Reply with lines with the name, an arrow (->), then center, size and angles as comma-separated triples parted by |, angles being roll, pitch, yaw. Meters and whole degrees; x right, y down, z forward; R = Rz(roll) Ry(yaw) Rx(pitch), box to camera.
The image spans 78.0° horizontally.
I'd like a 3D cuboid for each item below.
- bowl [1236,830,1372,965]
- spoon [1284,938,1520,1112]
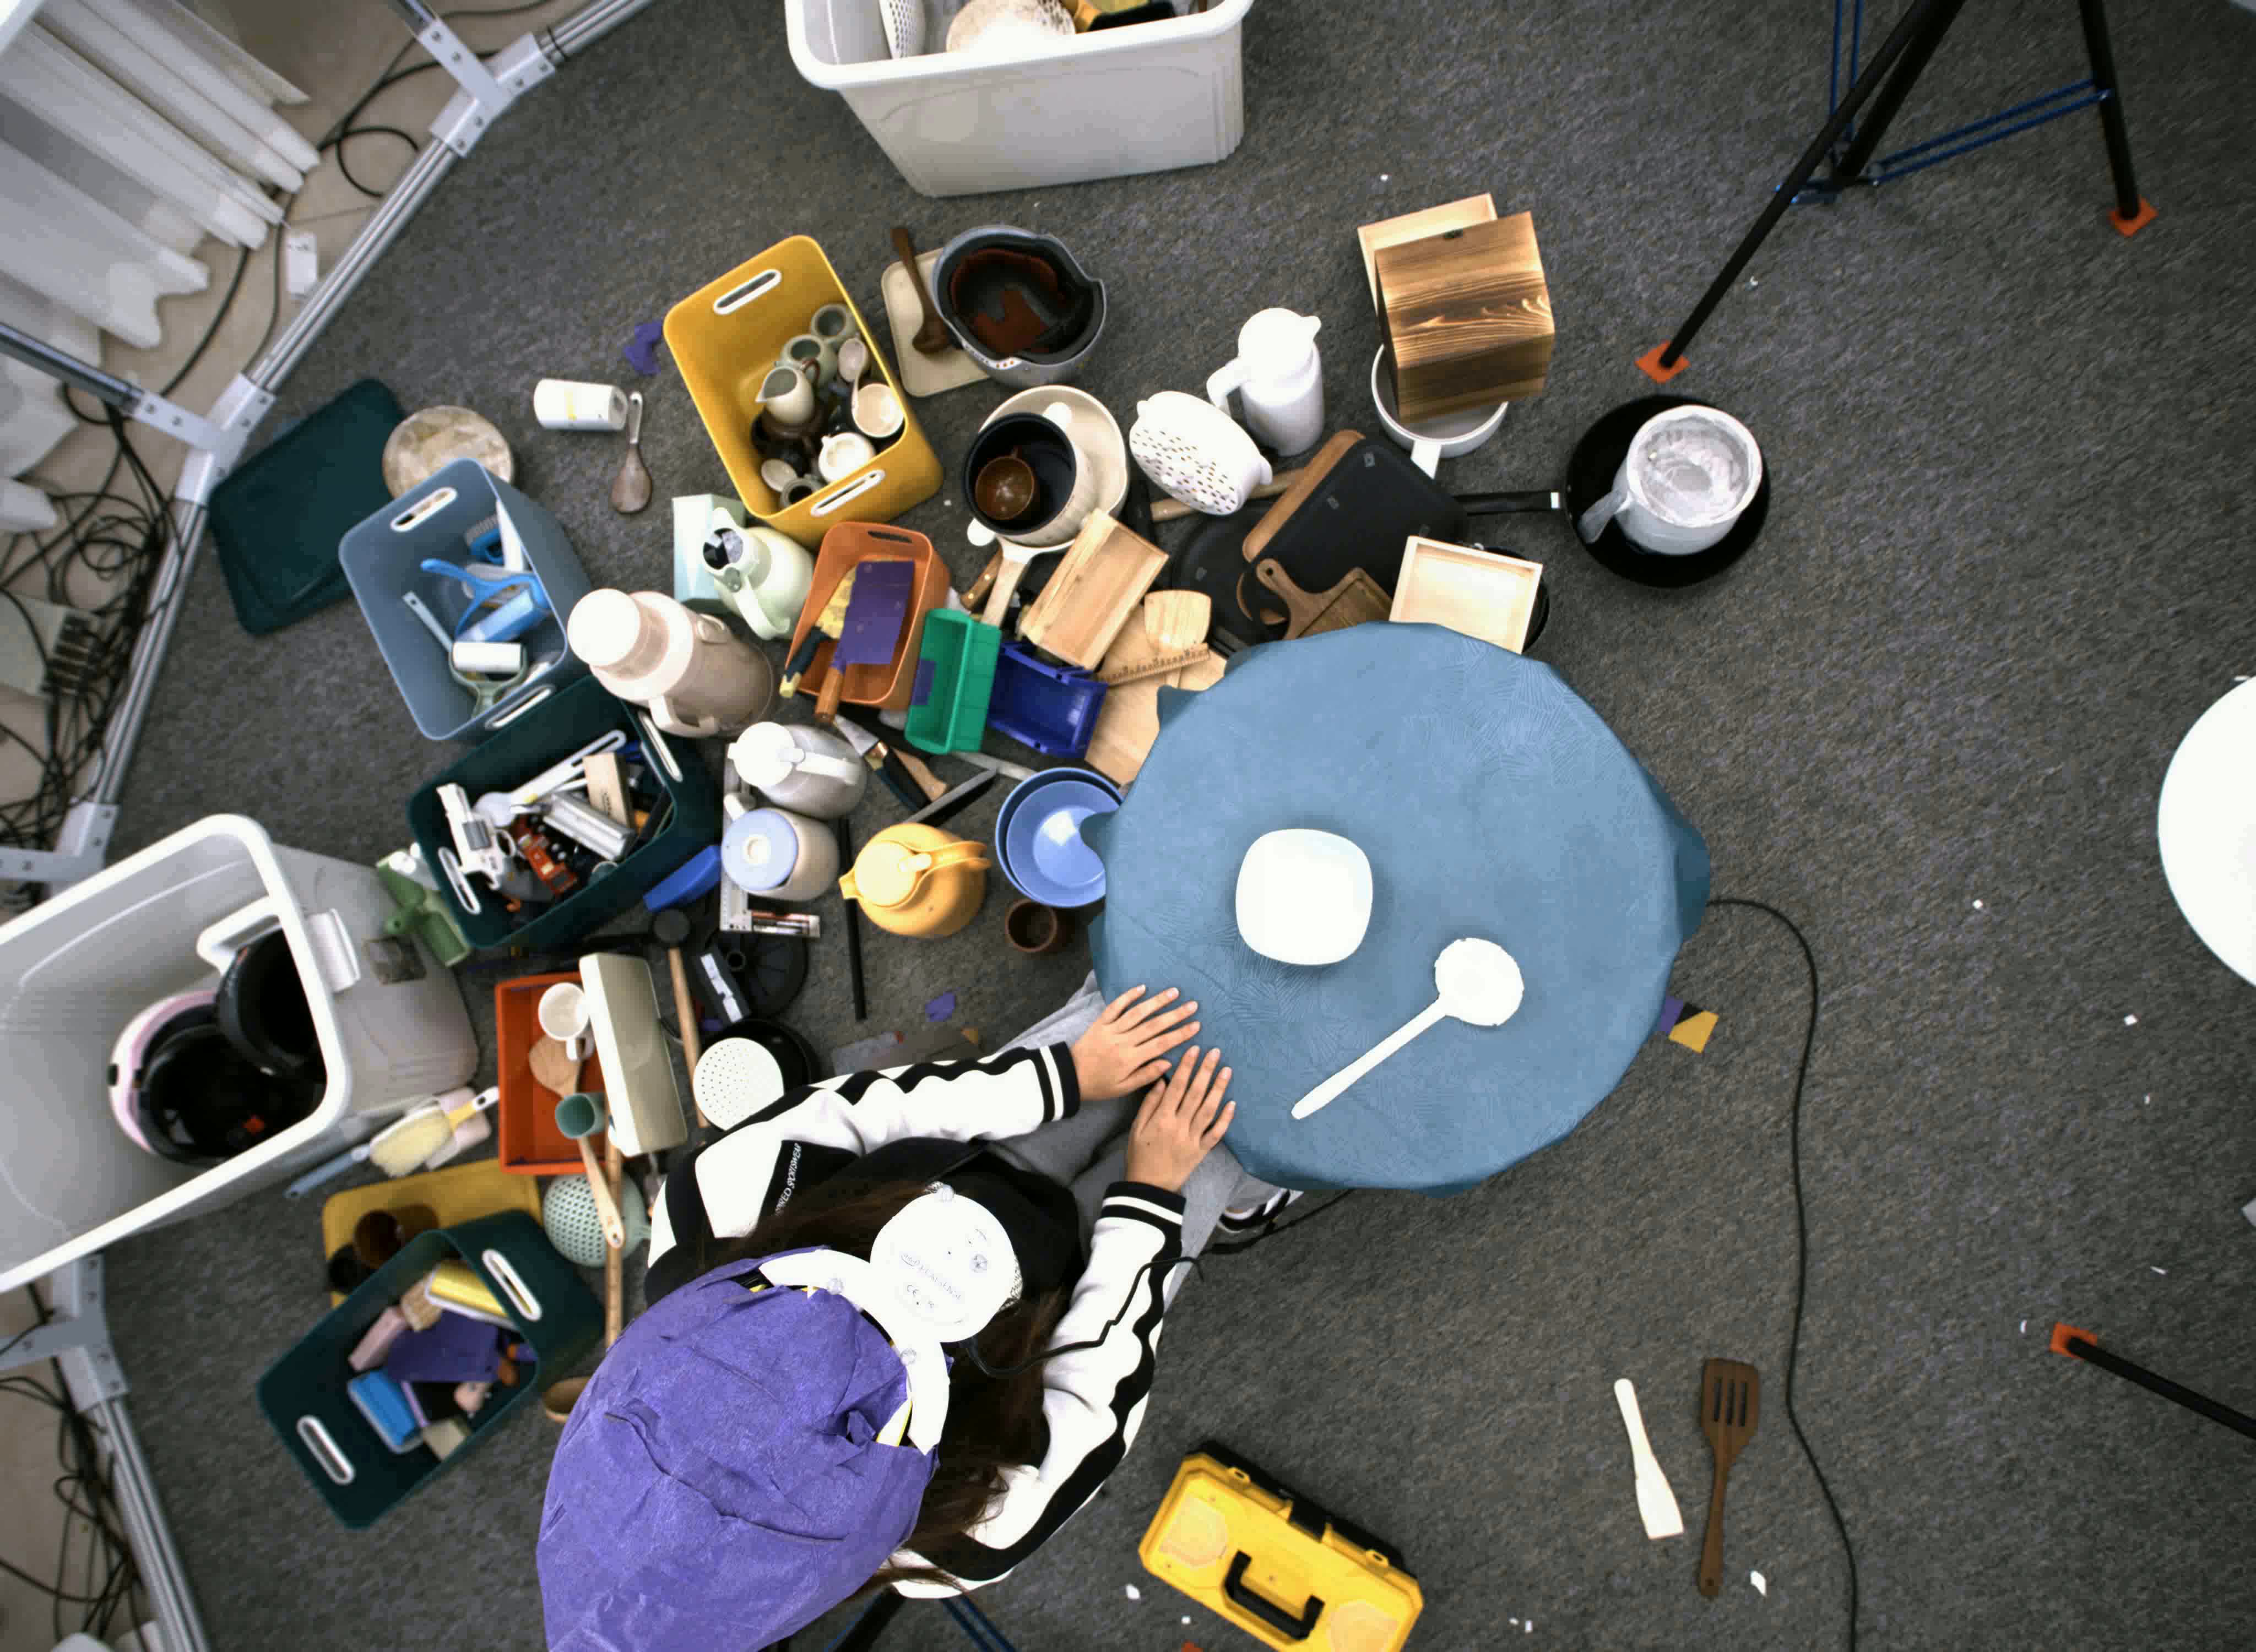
bowl -> 0.185, 0.075, 1.450 | 0.152, 0.058, 0.151 | -1, 86, 11
spoon -> 0.273, 0.211, 1.423 | 0.279, 0.059, 0.100 | -34, 76, 7
